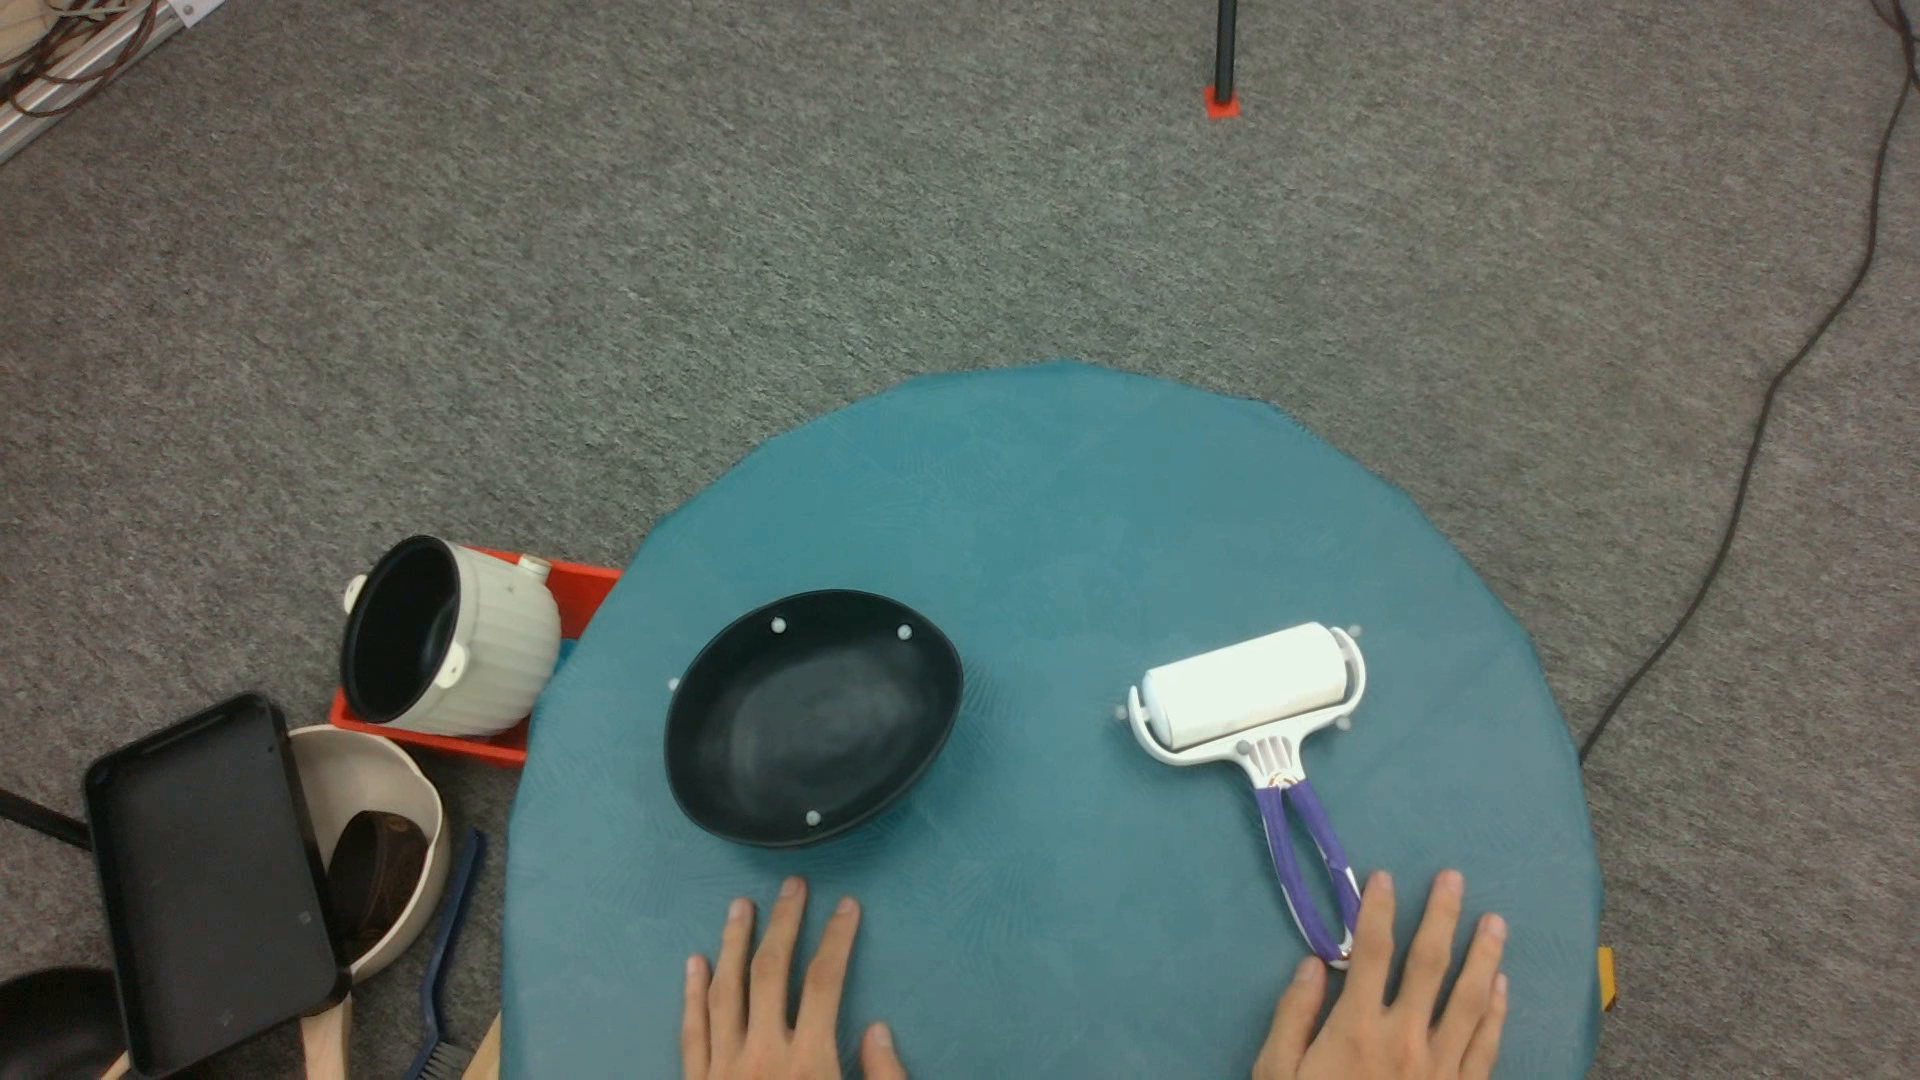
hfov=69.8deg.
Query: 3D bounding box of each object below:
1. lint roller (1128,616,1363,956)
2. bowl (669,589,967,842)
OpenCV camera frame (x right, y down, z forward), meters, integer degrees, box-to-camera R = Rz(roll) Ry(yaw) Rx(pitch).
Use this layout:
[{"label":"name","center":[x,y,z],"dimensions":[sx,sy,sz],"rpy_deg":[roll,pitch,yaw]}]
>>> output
[{"label":"lint roller","center":[0.175,0.135,0.751],"dimensions":[0.133,0.050,0.181],"rpy_deg":[-14,61,-3]},{"label":"bowl","center":[-0.077,0.102,0.778],"dimensions":[0.170,0.066,0.137],"rpy_deg":[-29,67,-11]}]
